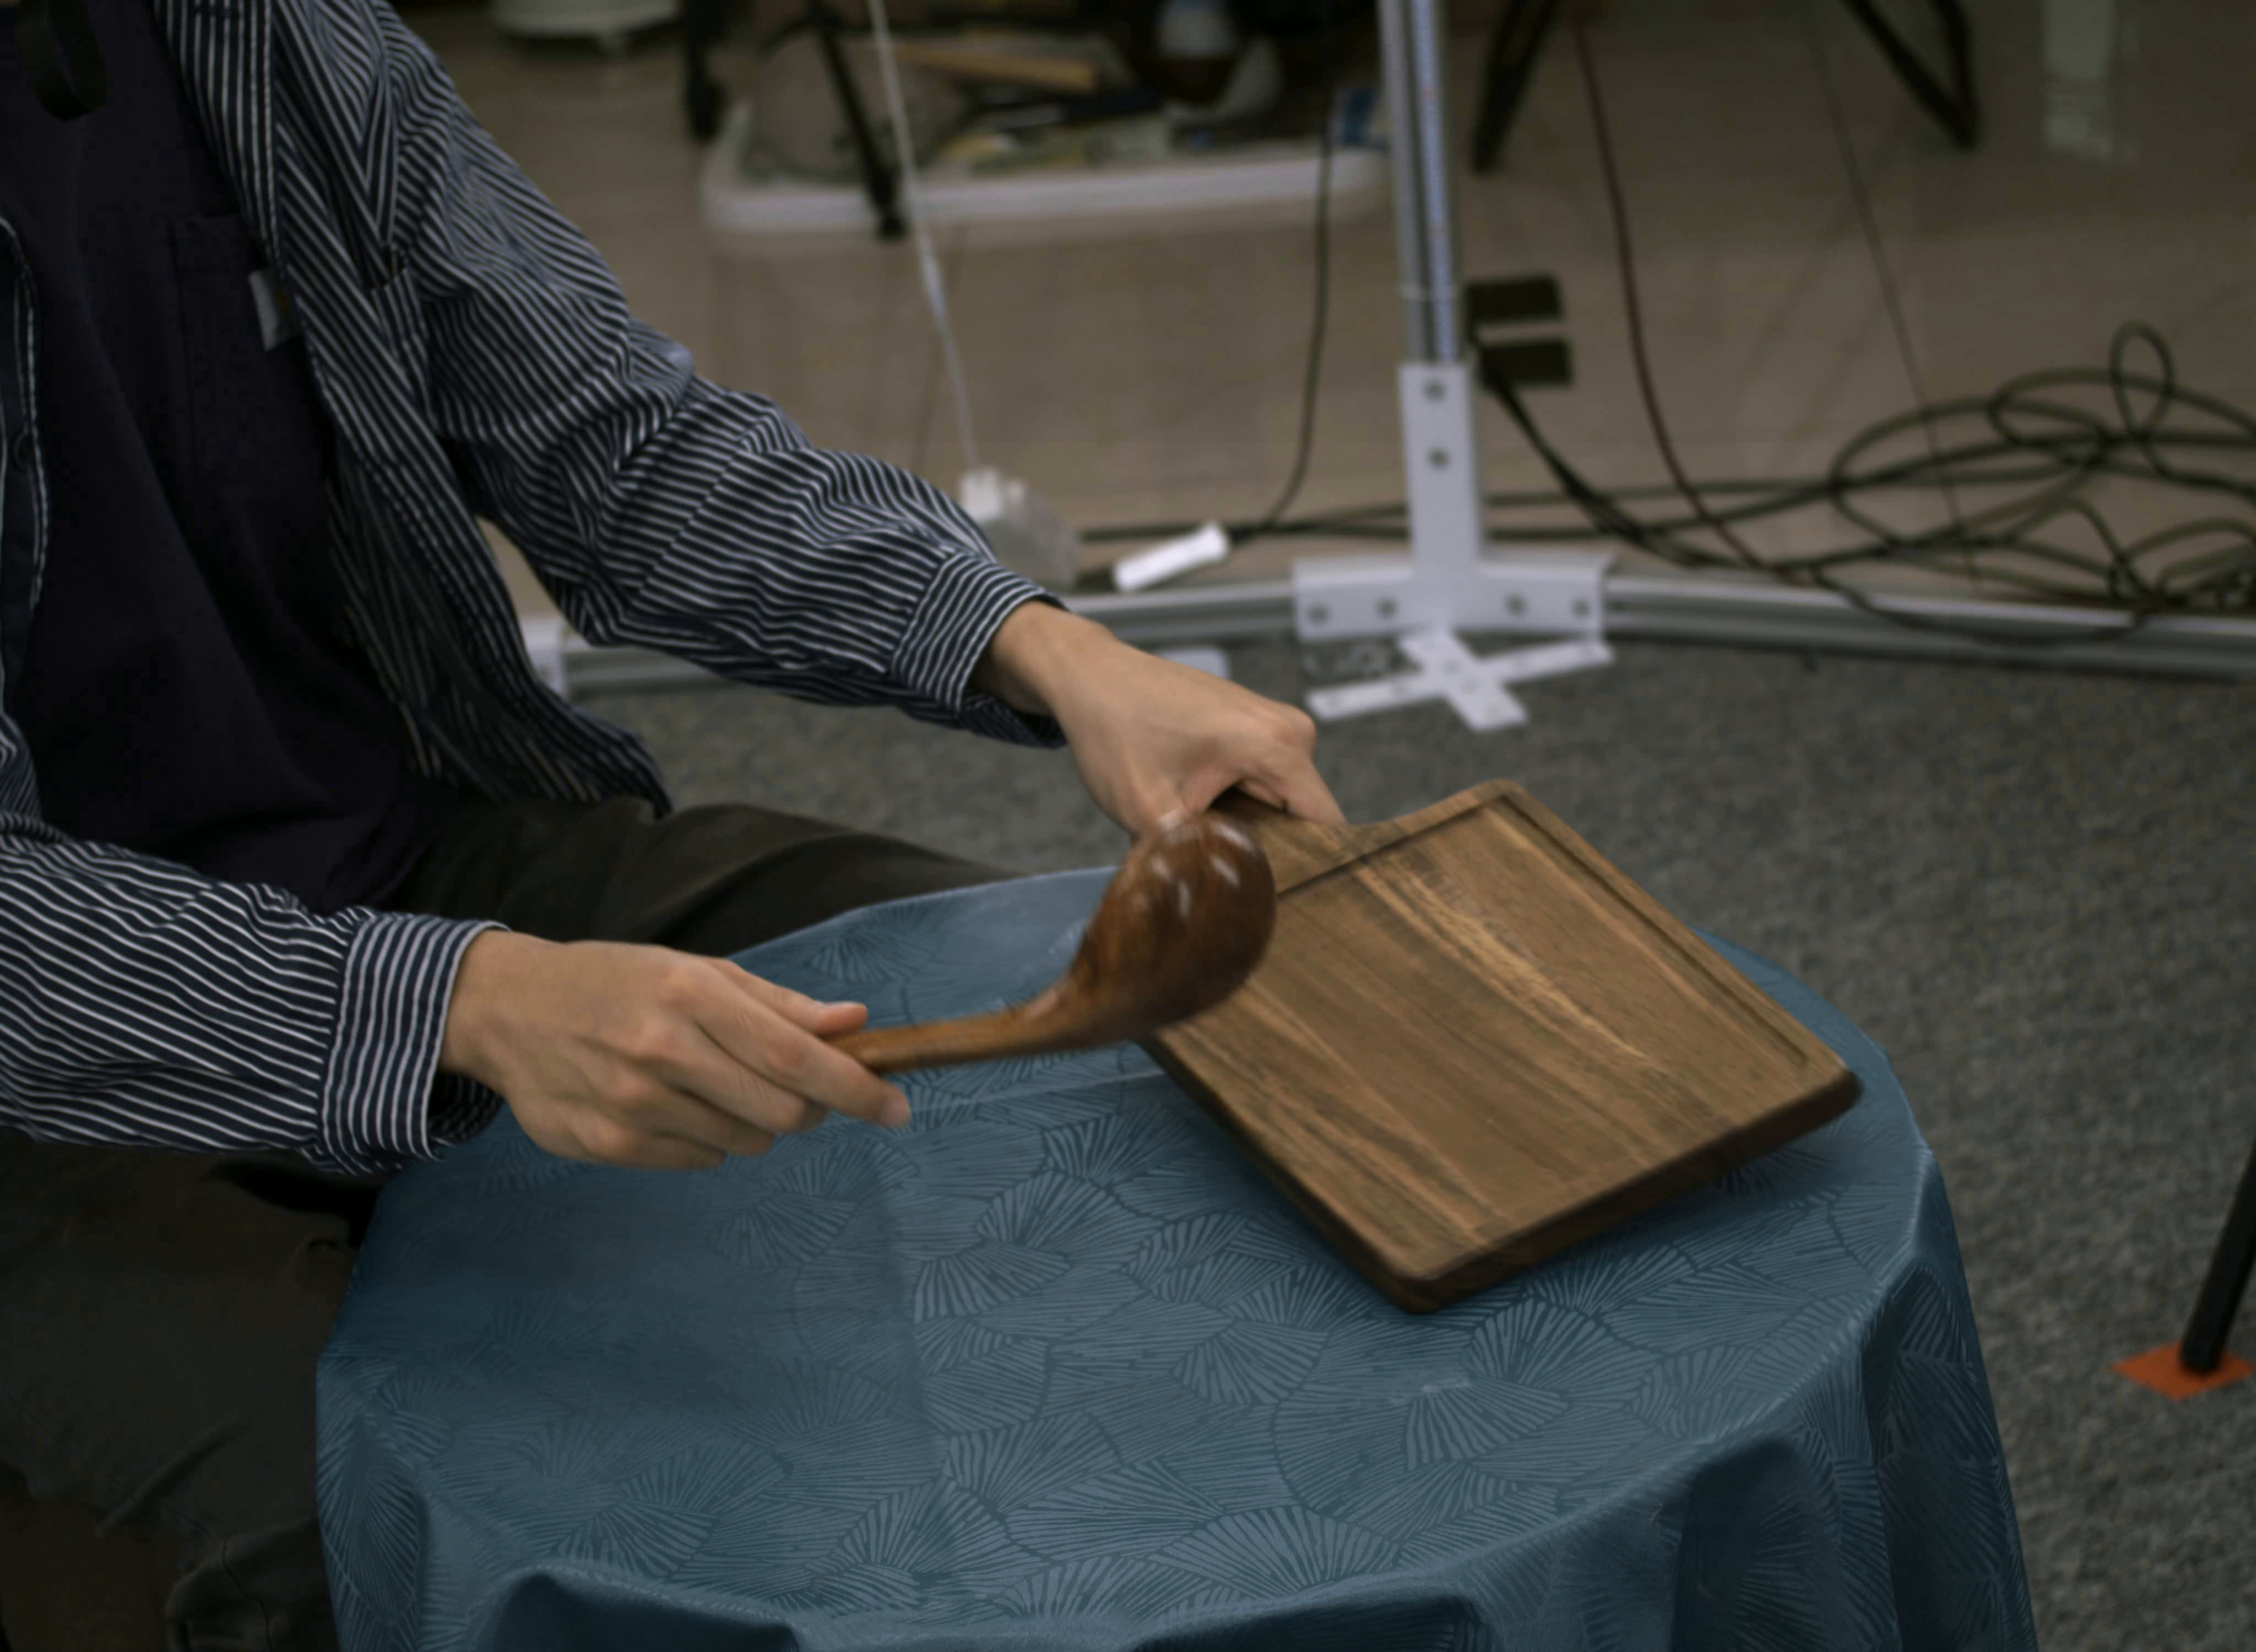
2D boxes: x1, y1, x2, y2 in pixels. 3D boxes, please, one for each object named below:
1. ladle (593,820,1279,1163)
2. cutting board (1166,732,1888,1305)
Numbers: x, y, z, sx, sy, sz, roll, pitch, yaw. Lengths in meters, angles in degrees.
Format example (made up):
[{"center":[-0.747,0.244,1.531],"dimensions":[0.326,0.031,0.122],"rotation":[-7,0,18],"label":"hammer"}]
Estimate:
[{"center":[-0.073,0.059,2.029],"dimensions":[0.274,0.083,0.075],"rotation":[-12,56,27],"label":"ladle"},{"center":[0.118,0.052,2.198],"dimensions":[0.200,0.023,0.347],"rotation":[-23,38,-18],"label":"cutting board"}]
